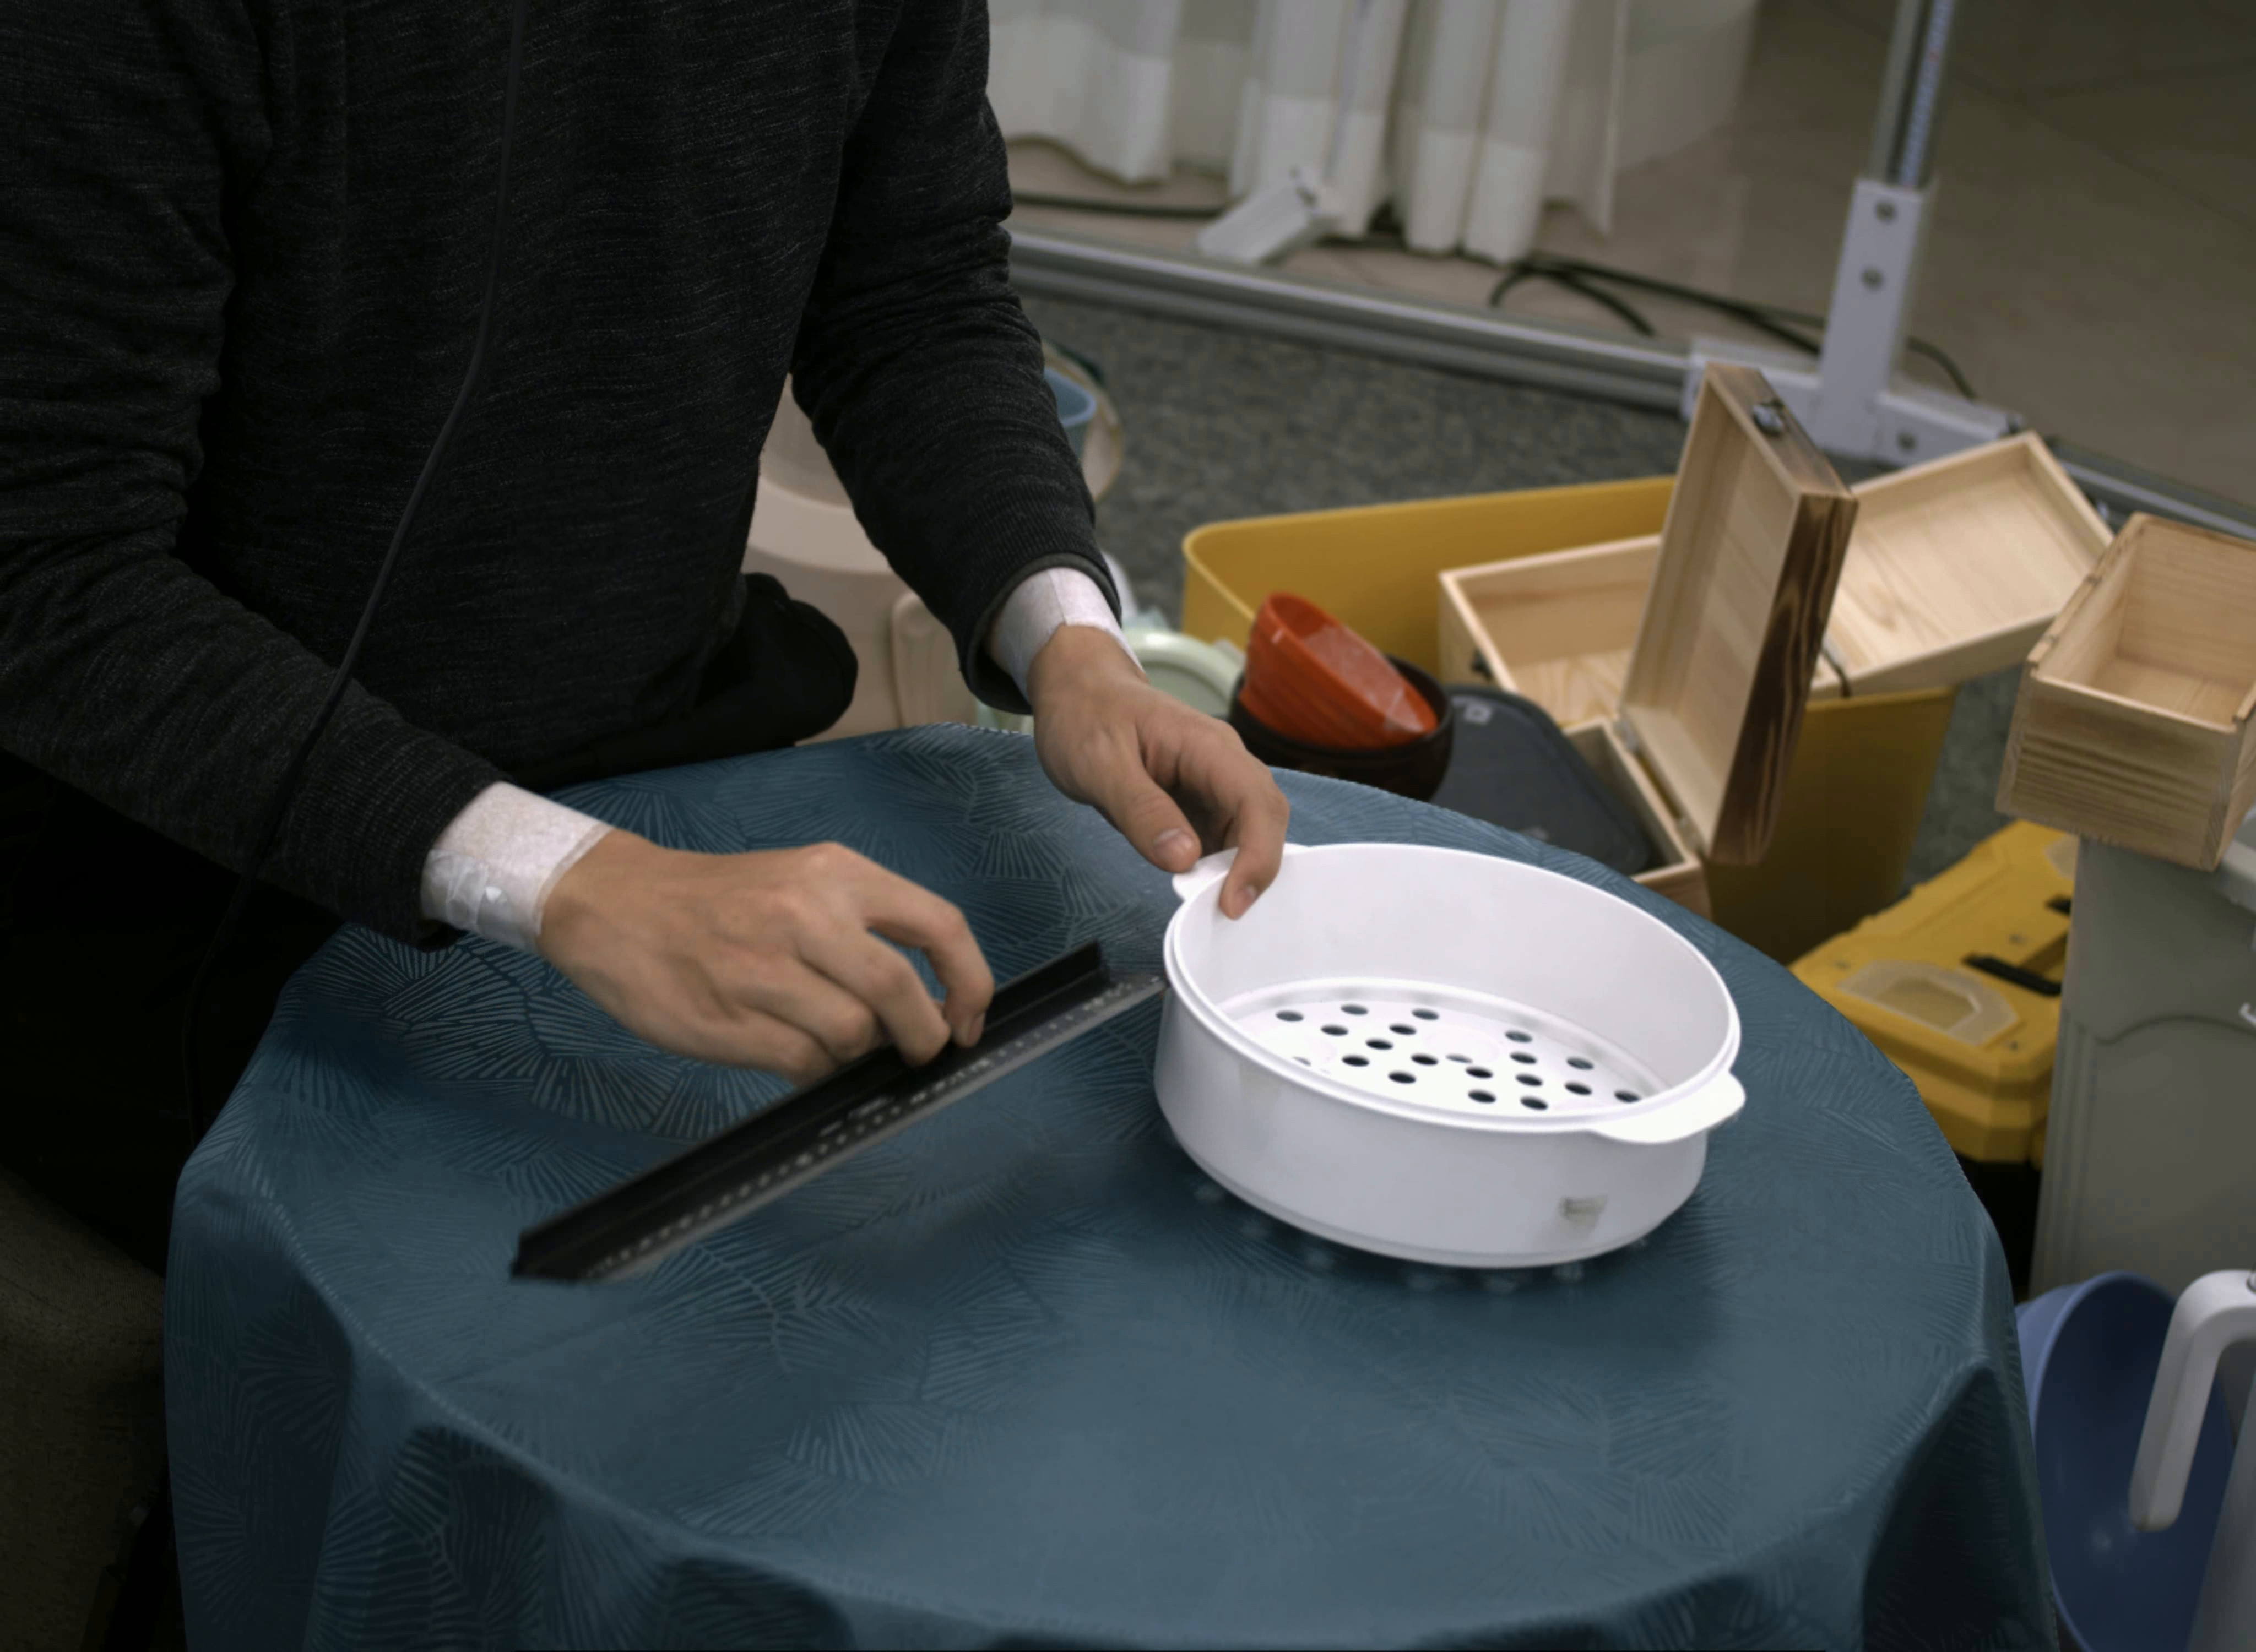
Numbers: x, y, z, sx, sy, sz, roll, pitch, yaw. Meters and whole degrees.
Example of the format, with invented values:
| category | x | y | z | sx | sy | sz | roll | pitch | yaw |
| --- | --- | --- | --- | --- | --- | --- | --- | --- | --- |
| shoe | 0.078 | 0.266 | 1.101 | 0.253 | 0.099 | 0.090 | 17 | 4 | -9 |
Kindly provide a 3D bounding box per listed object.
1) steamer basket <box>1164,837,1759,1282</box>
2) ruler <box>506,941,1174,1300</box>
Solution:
| category | x | y | z | sx | sy | sz | roll | pitch | yaw |
| --- | --- | --- | --- | --- | --- | --- | --- | --- | --- |
| steamer basket | 0.111 | 0.081 | 1.828 | 0.201 | 0.069 | 0.232 | -17 | 38 | -42 |
| ruler | -0.085 | 0.090 | 1.690 | 0.039 | 0.017 | 0.311 | 6 | 19 | 34 |
